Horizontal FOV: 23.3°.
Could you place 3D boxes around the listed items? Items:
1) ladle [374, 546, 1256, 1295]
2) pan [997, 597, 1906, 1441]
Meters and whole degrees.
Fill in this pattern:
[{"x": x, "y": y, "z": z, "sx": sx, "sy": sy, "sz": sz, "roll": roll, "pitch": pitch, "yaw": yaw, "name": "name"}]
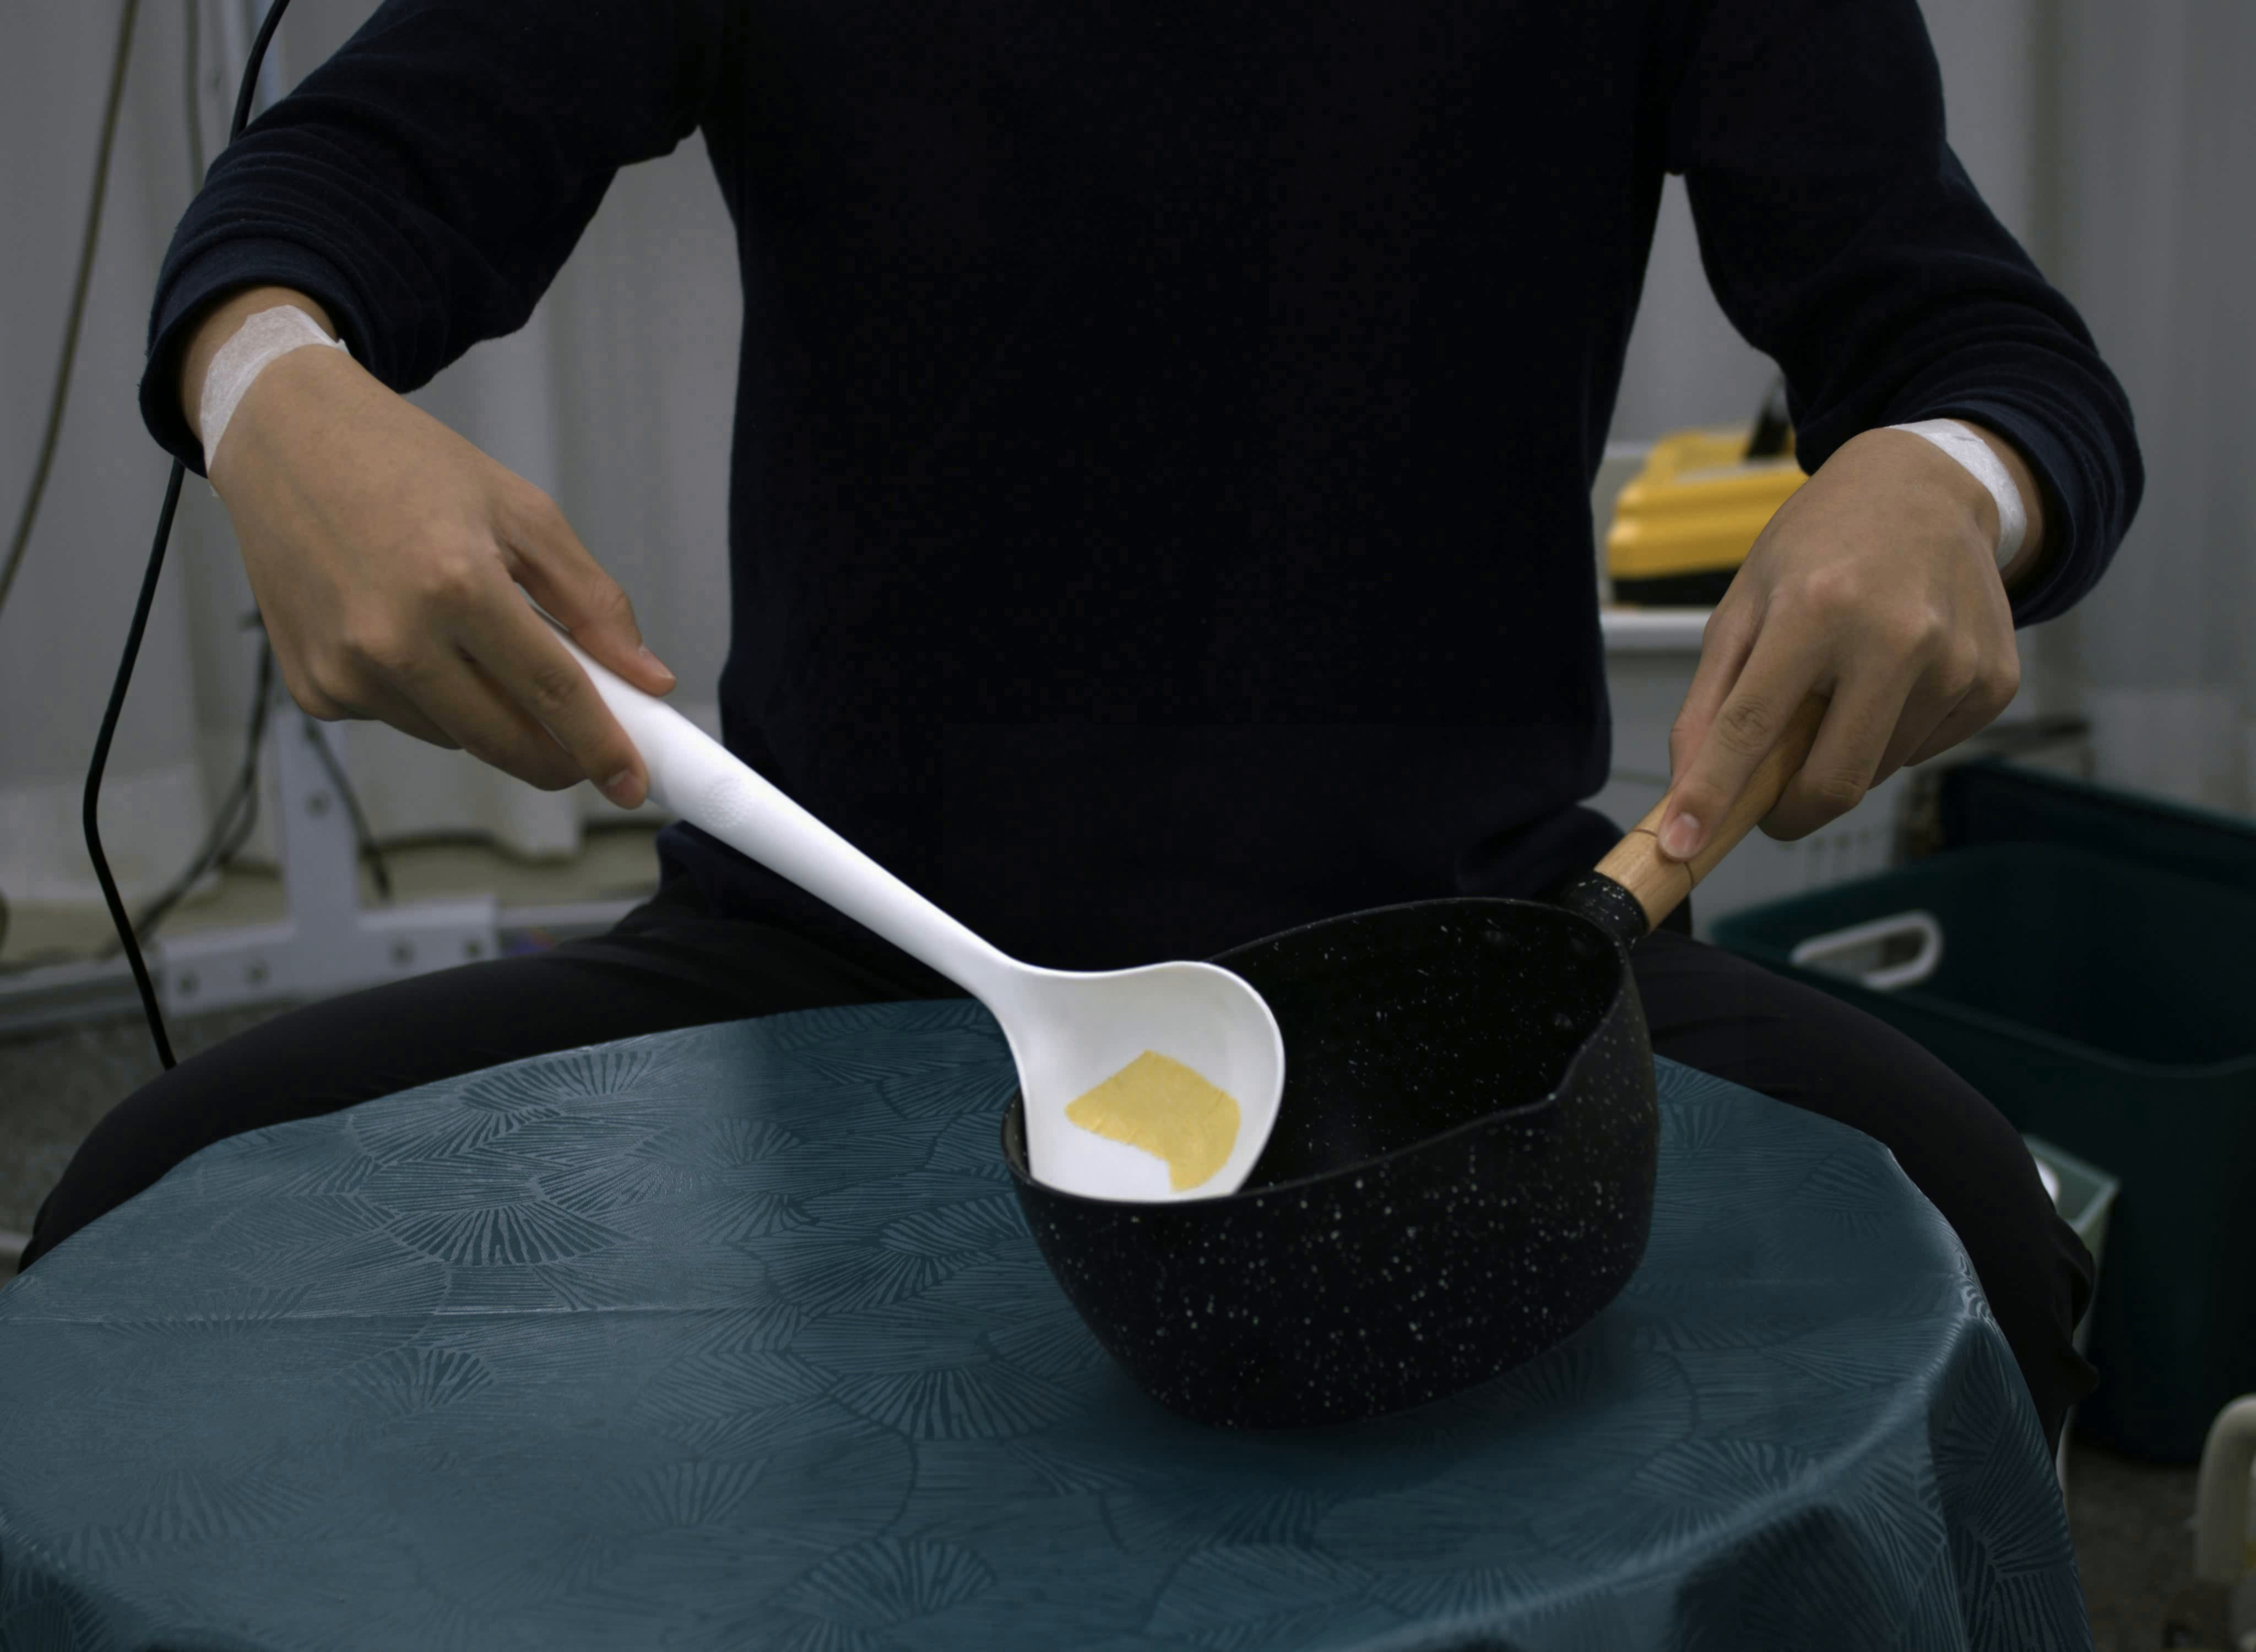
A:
[{"x": -0.091, "y": 0.021, "z": 1.546, "sx": 0.292, "sy": 0.090, "sz": 0.070, "roll": 36, "pitch": 14, "yaw": 0, "name": "ladle"}, {"x": 0.117, "y": 0.054, "z": 1.582, "sx": 0.343, "sy": 0.107, "sz": 0.208, "roll": -33, "pitch": 23, "yaw": -33, "name": "pan"}]
